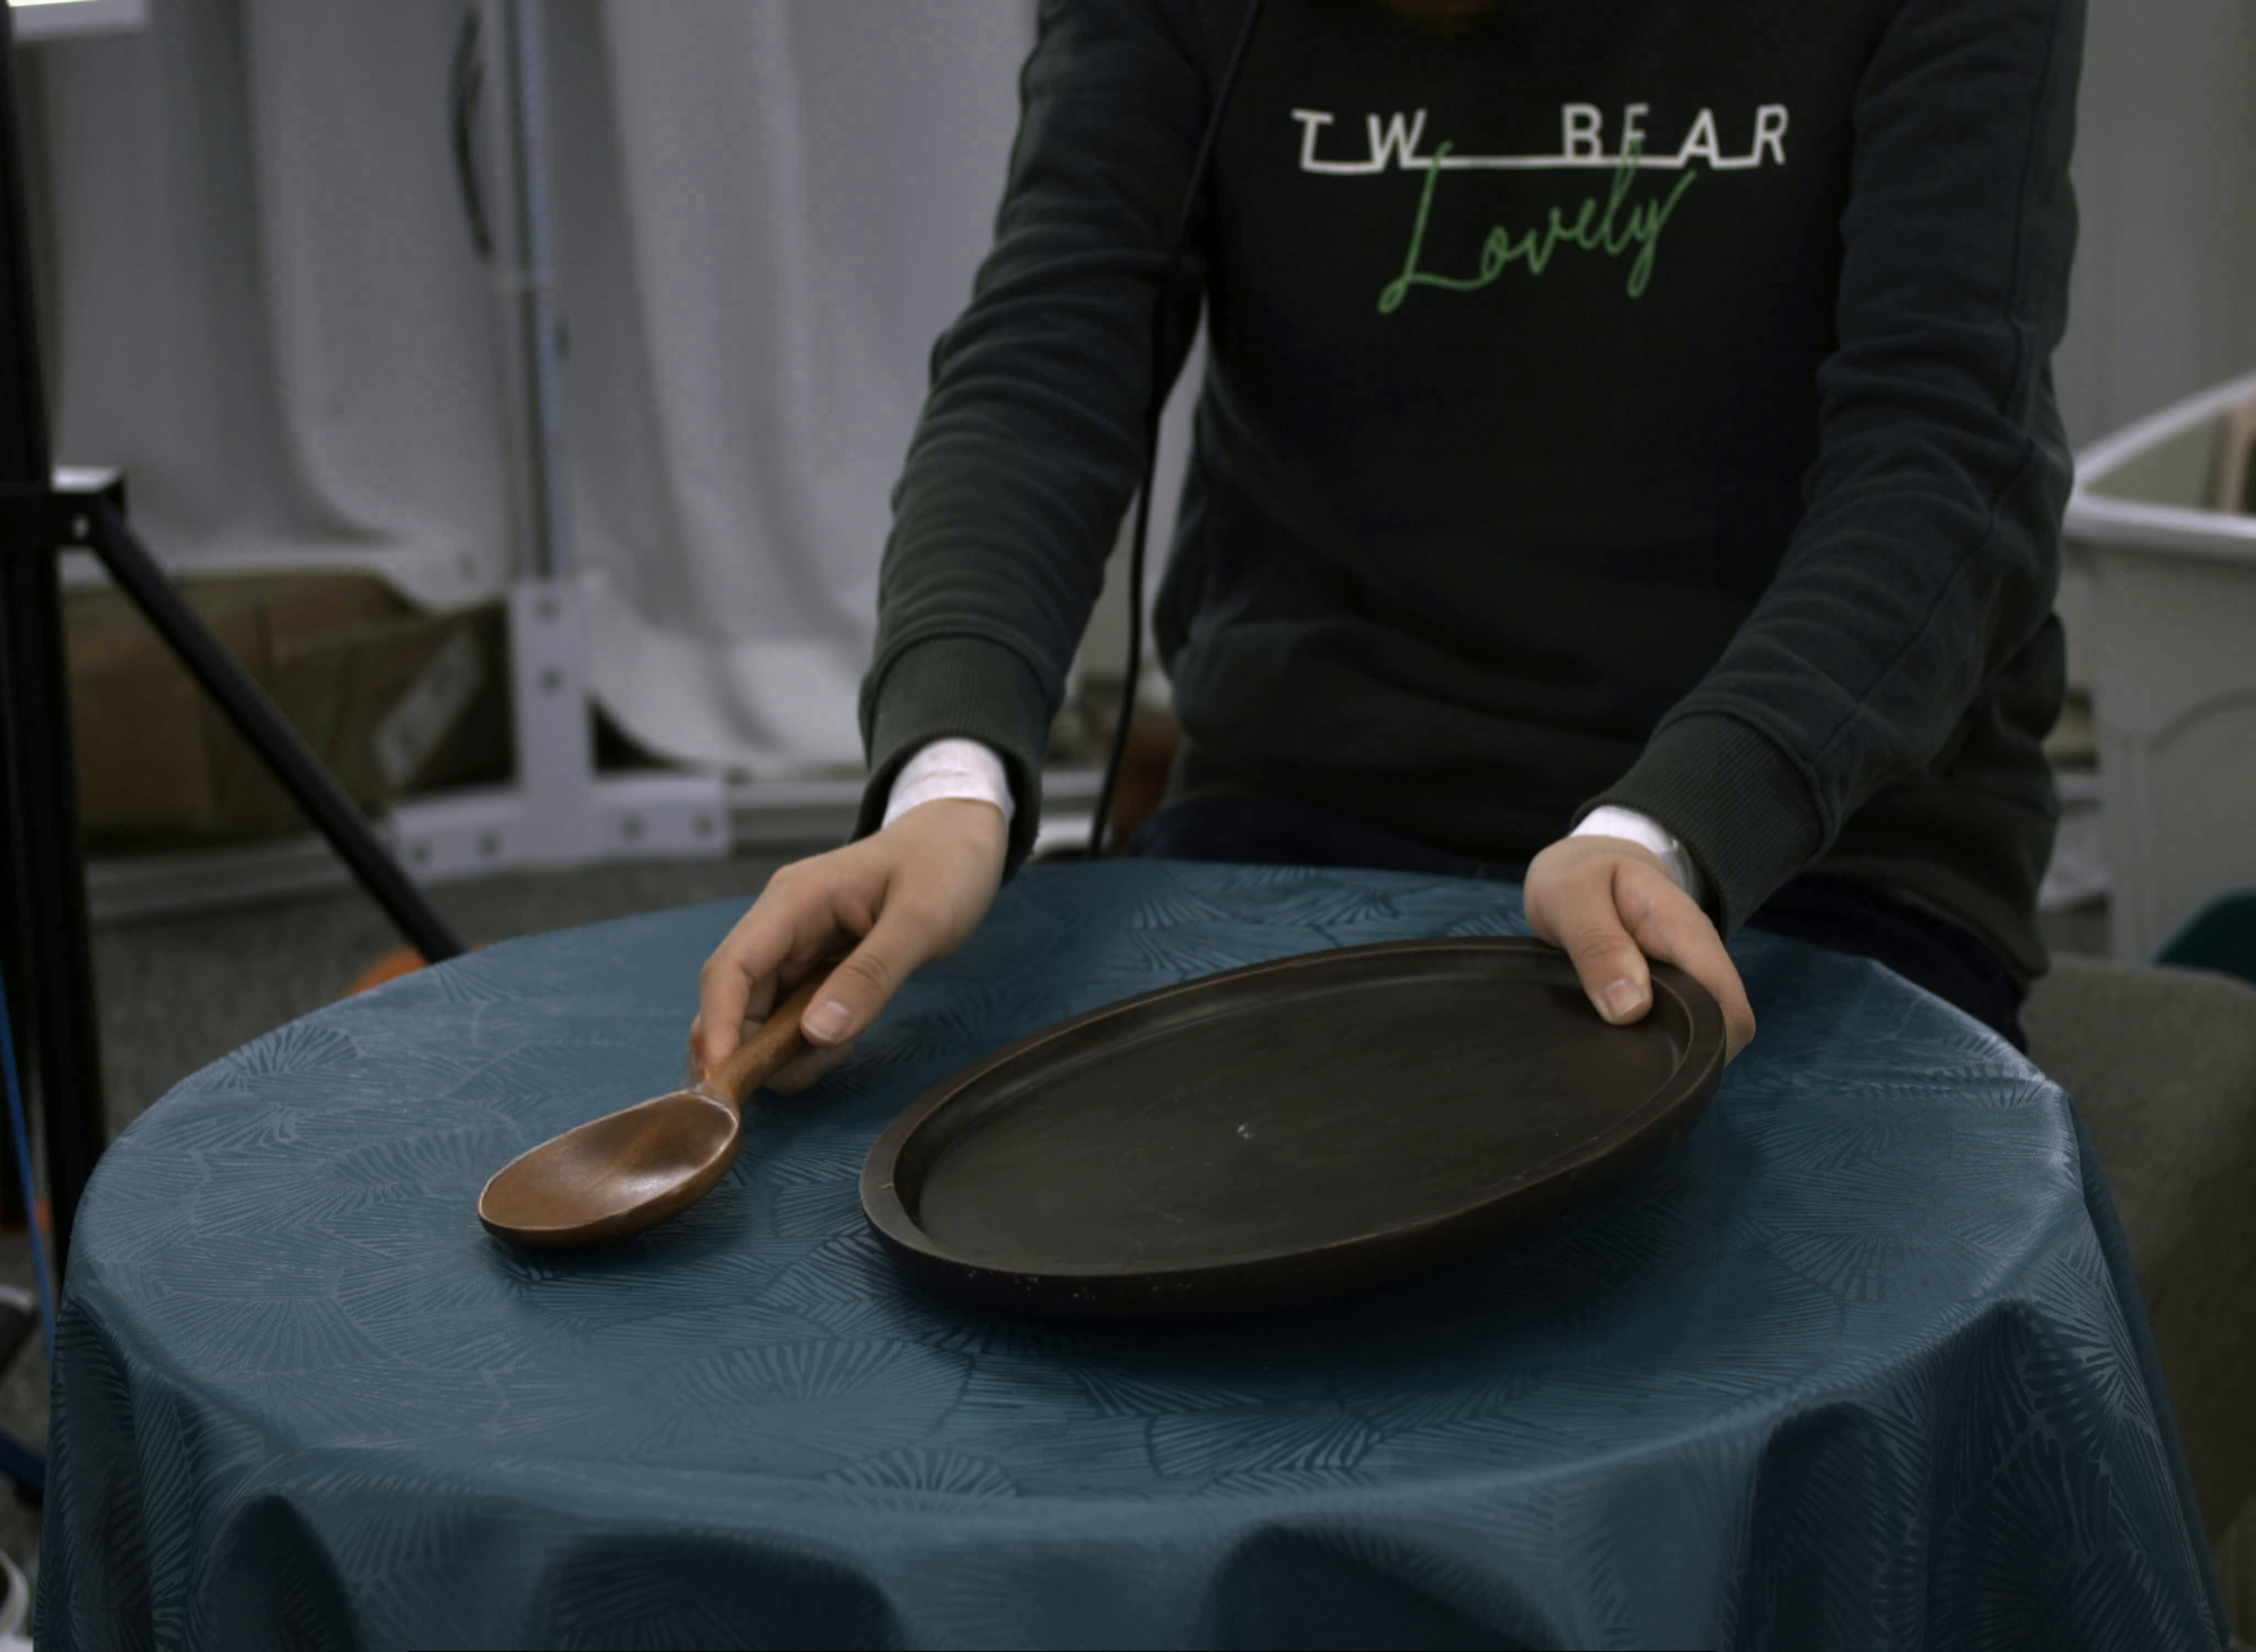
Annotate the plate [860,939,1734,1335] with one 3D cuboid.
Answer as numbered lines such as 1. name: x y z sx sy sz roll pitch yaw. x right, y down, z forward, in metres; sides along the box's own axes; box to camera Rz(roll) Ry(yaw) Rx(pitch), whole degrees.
1. plate: 0.049 0.086 1.513 0.254 0.029 0.256 -12 17 2

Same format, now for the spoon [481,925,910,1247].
1. spoon: -0.121 0.079 1.604 0.077 0.017 0.213 -5 21 30
